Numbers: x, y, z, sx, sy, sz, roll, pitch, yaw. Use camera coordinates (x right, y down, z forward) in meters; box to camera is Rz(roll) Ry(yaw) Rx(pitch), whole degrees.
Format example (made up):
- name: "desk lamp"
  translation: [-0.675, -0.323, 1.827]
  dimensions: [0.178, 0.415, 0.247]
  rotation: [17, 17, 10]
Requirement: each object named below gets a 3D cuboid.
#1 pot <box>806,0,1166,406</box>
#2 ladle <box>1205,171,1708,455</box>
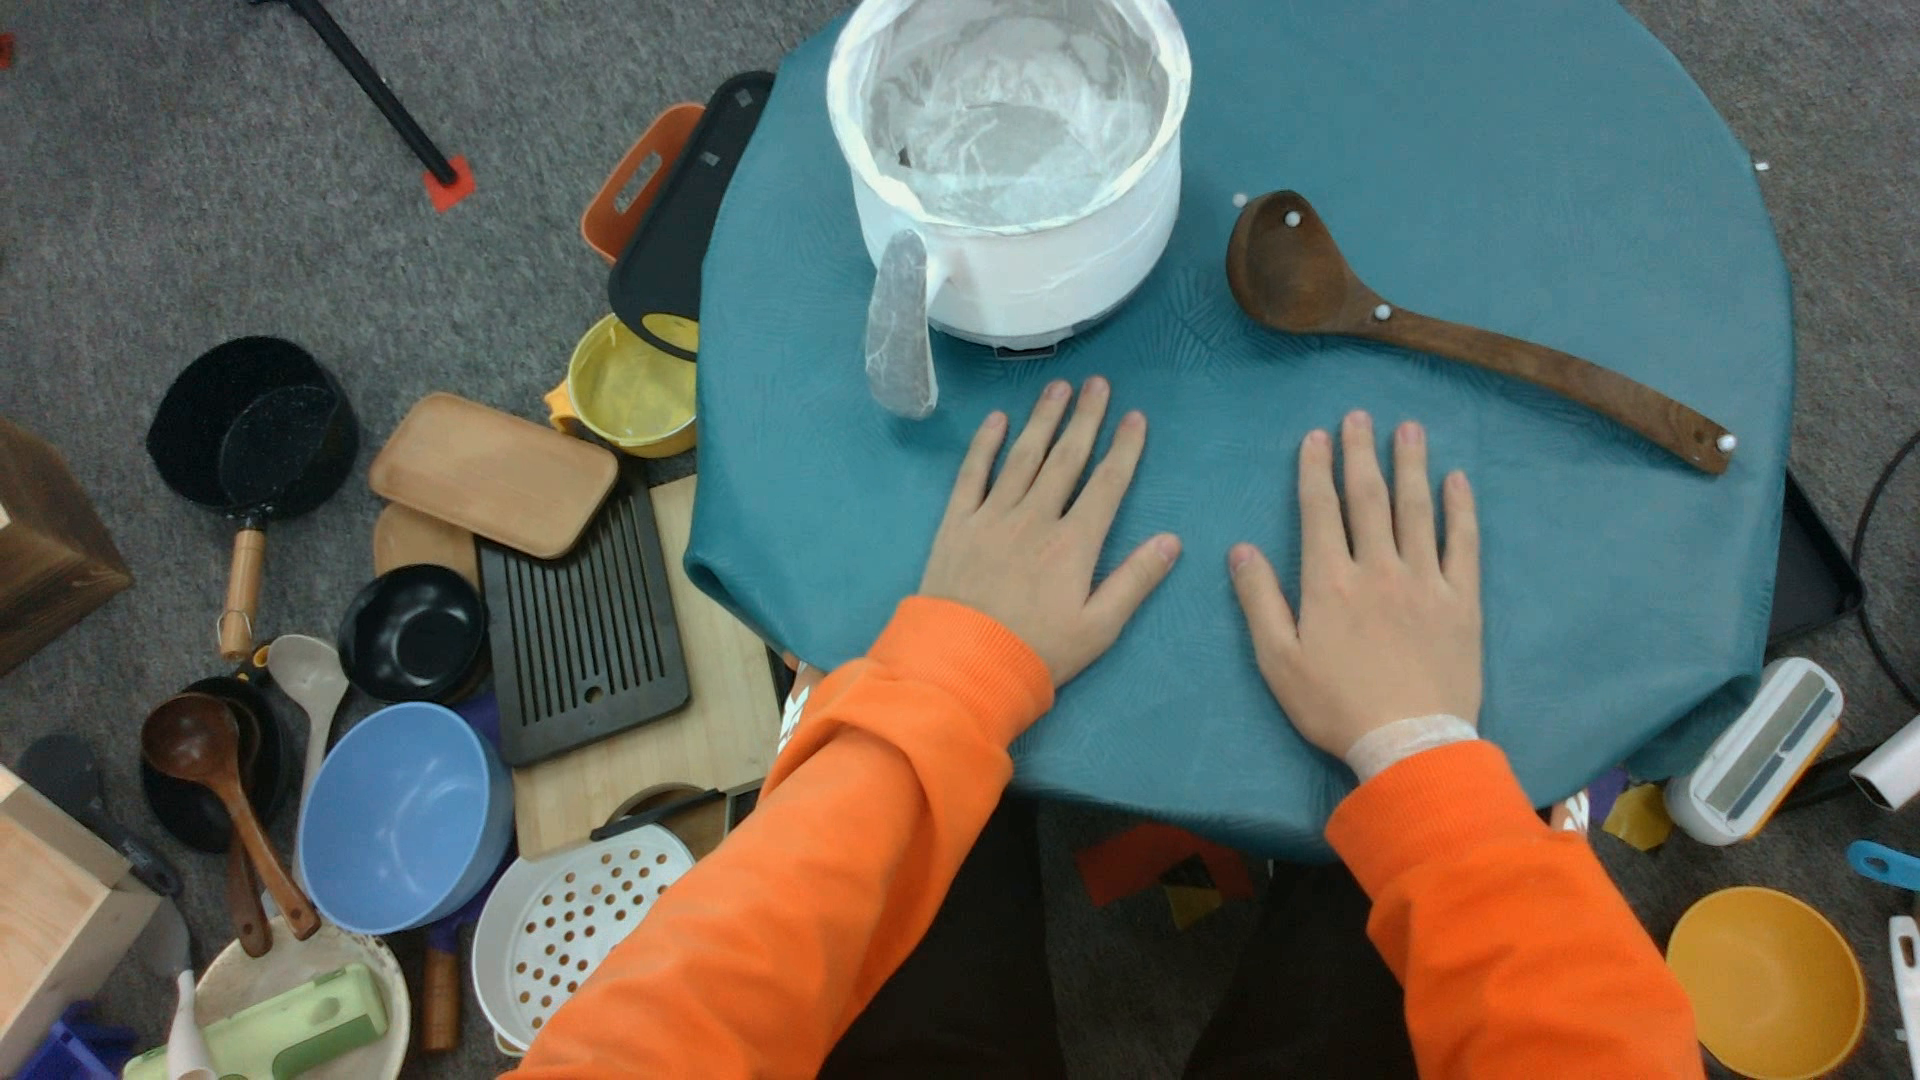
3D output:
- name: "pot"
  translation: [0.005, -0.187, 0.723]
  dimensions: [0.178, 0.136, 0.234]
  rotation: [23, 73, 13]
- name: "ladle"
  translation: [0.258, -0.115, 0.711]
  dimensions: [0.274, 0.071, 0.076]
  rotation: [23, 76, 13]
